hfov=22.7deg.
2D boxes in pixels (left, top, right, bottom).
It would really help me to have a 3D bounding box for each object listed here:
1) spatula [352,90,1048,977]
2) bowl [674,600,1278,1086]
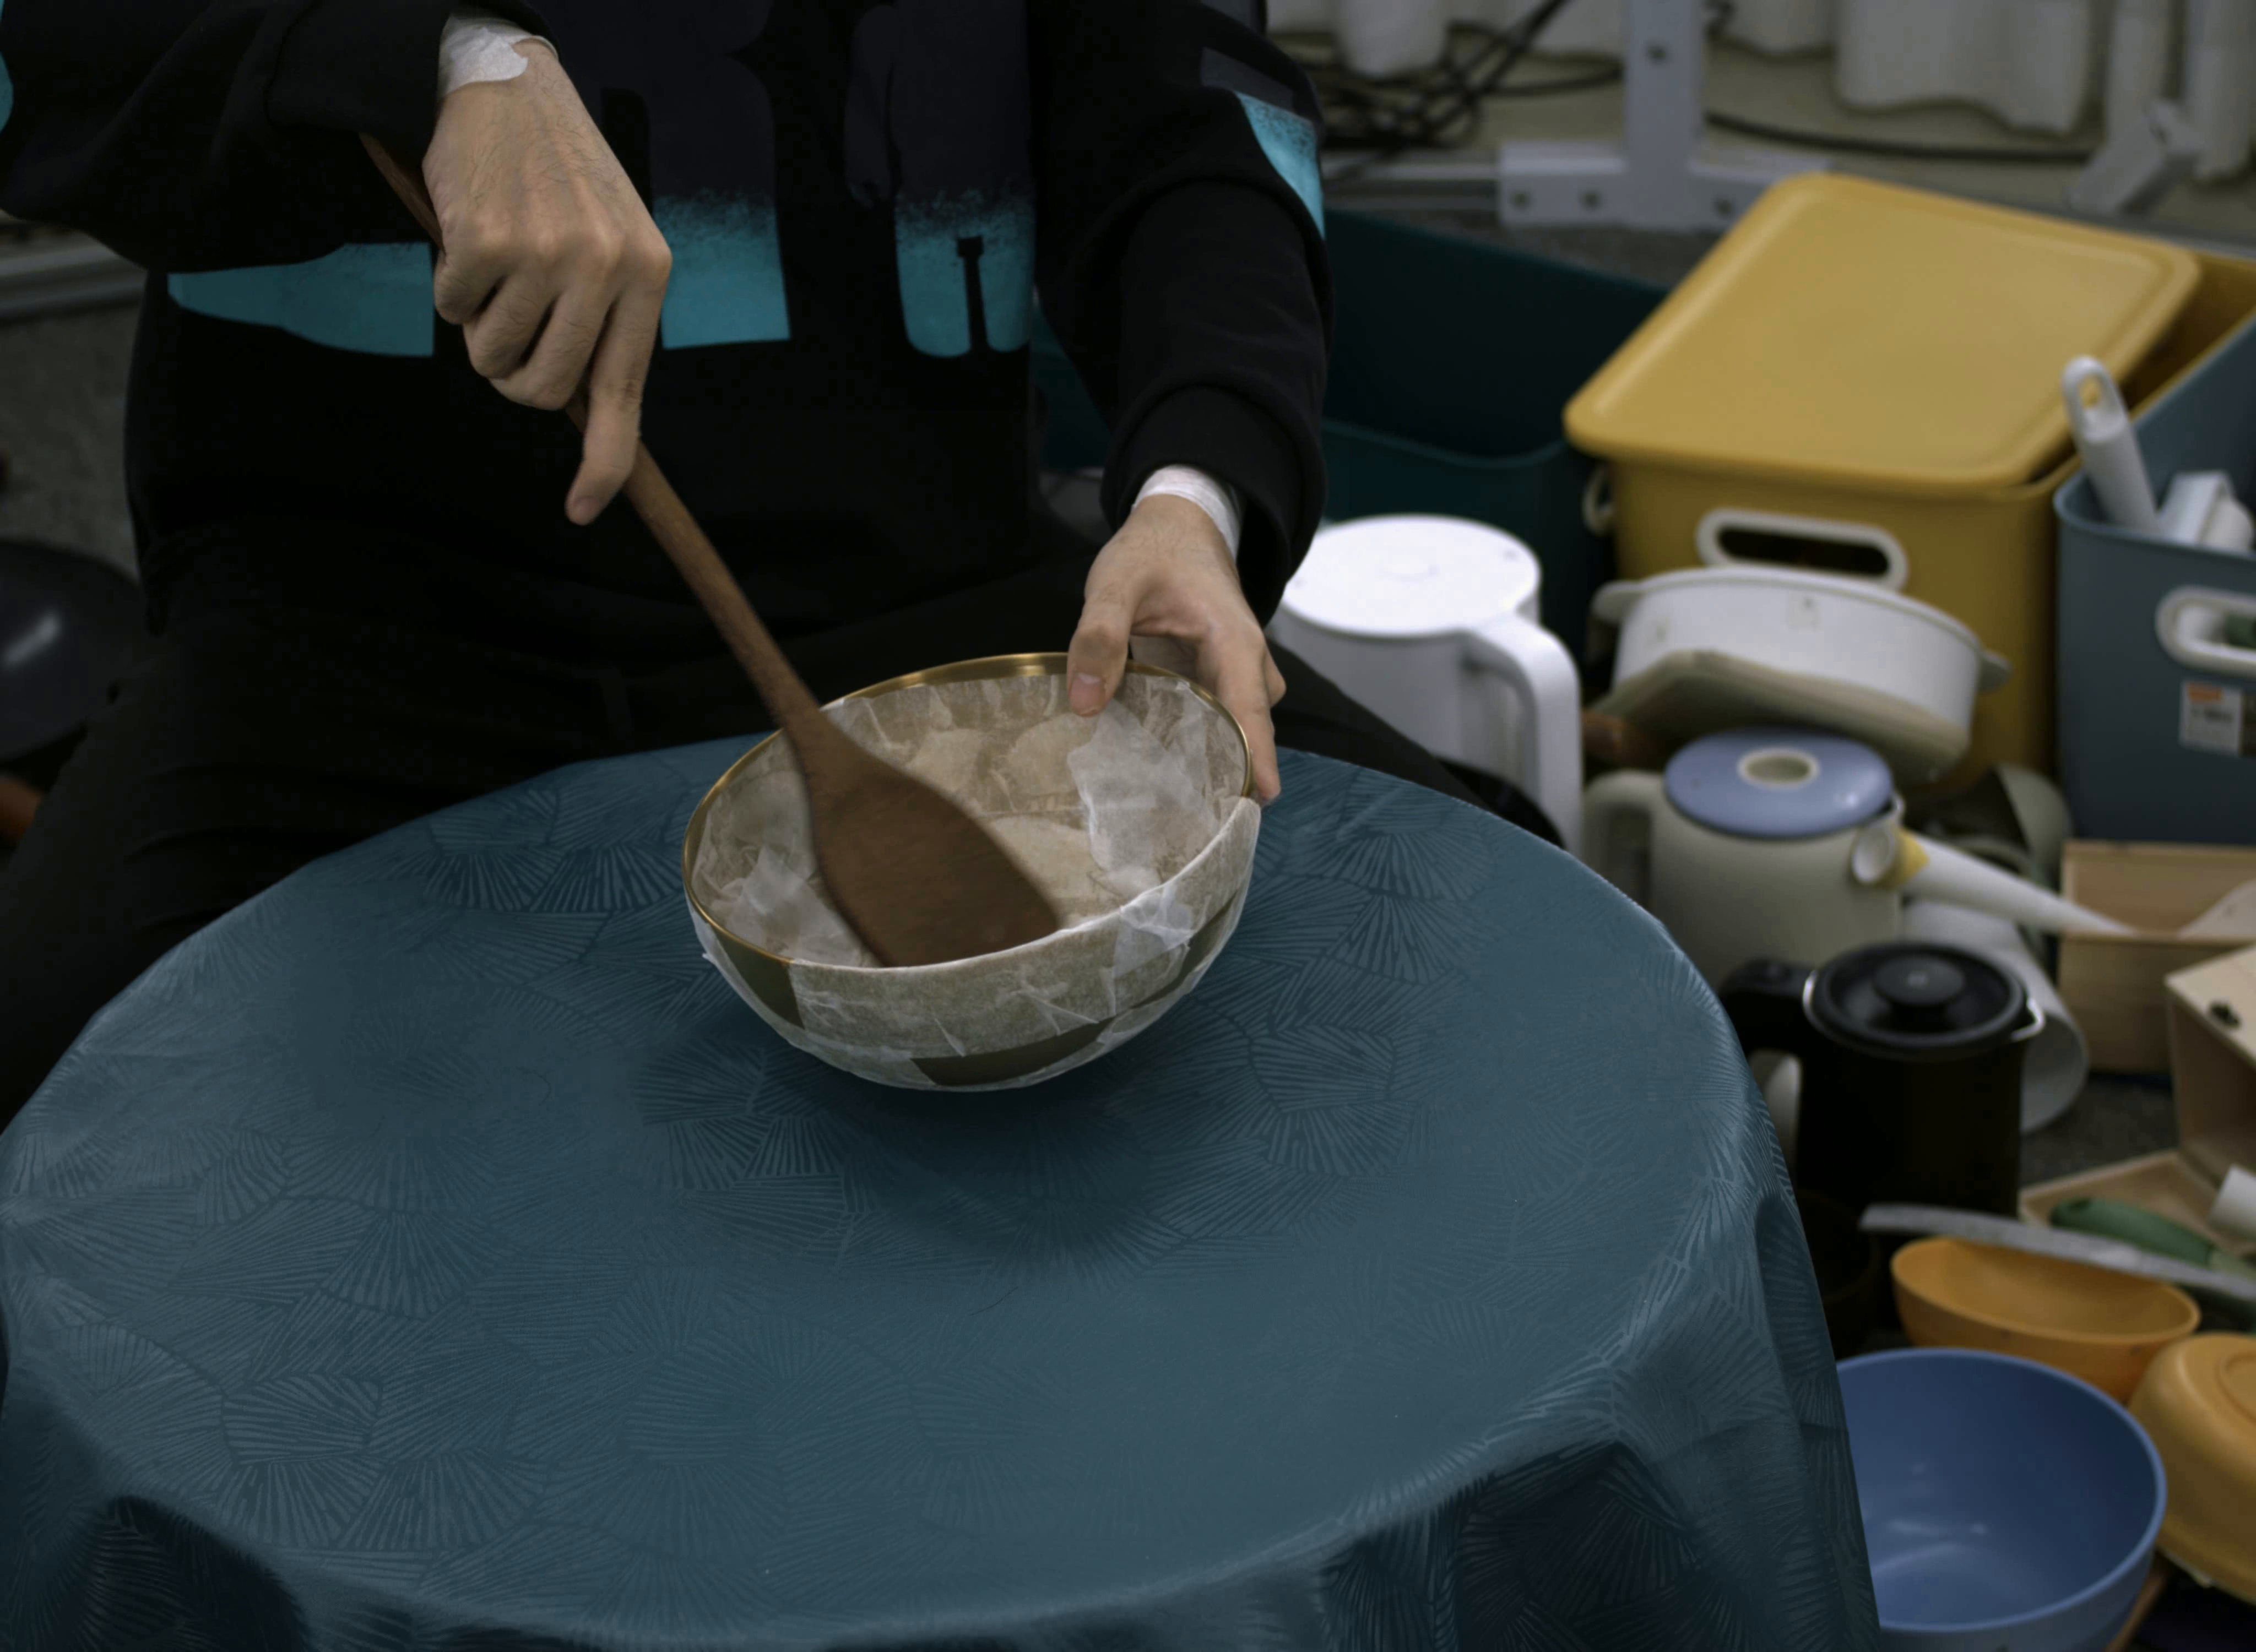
[{"bbox_3d":[-0.154,-0.097,1.942,0.015,0.387,0.097,-37,-5,35],"label":"spatula"},{"bbox_3d":[-0.046,0.020,1.932,0.213,0.093,0.219,-7,38,6],"label":"bowl"}]
